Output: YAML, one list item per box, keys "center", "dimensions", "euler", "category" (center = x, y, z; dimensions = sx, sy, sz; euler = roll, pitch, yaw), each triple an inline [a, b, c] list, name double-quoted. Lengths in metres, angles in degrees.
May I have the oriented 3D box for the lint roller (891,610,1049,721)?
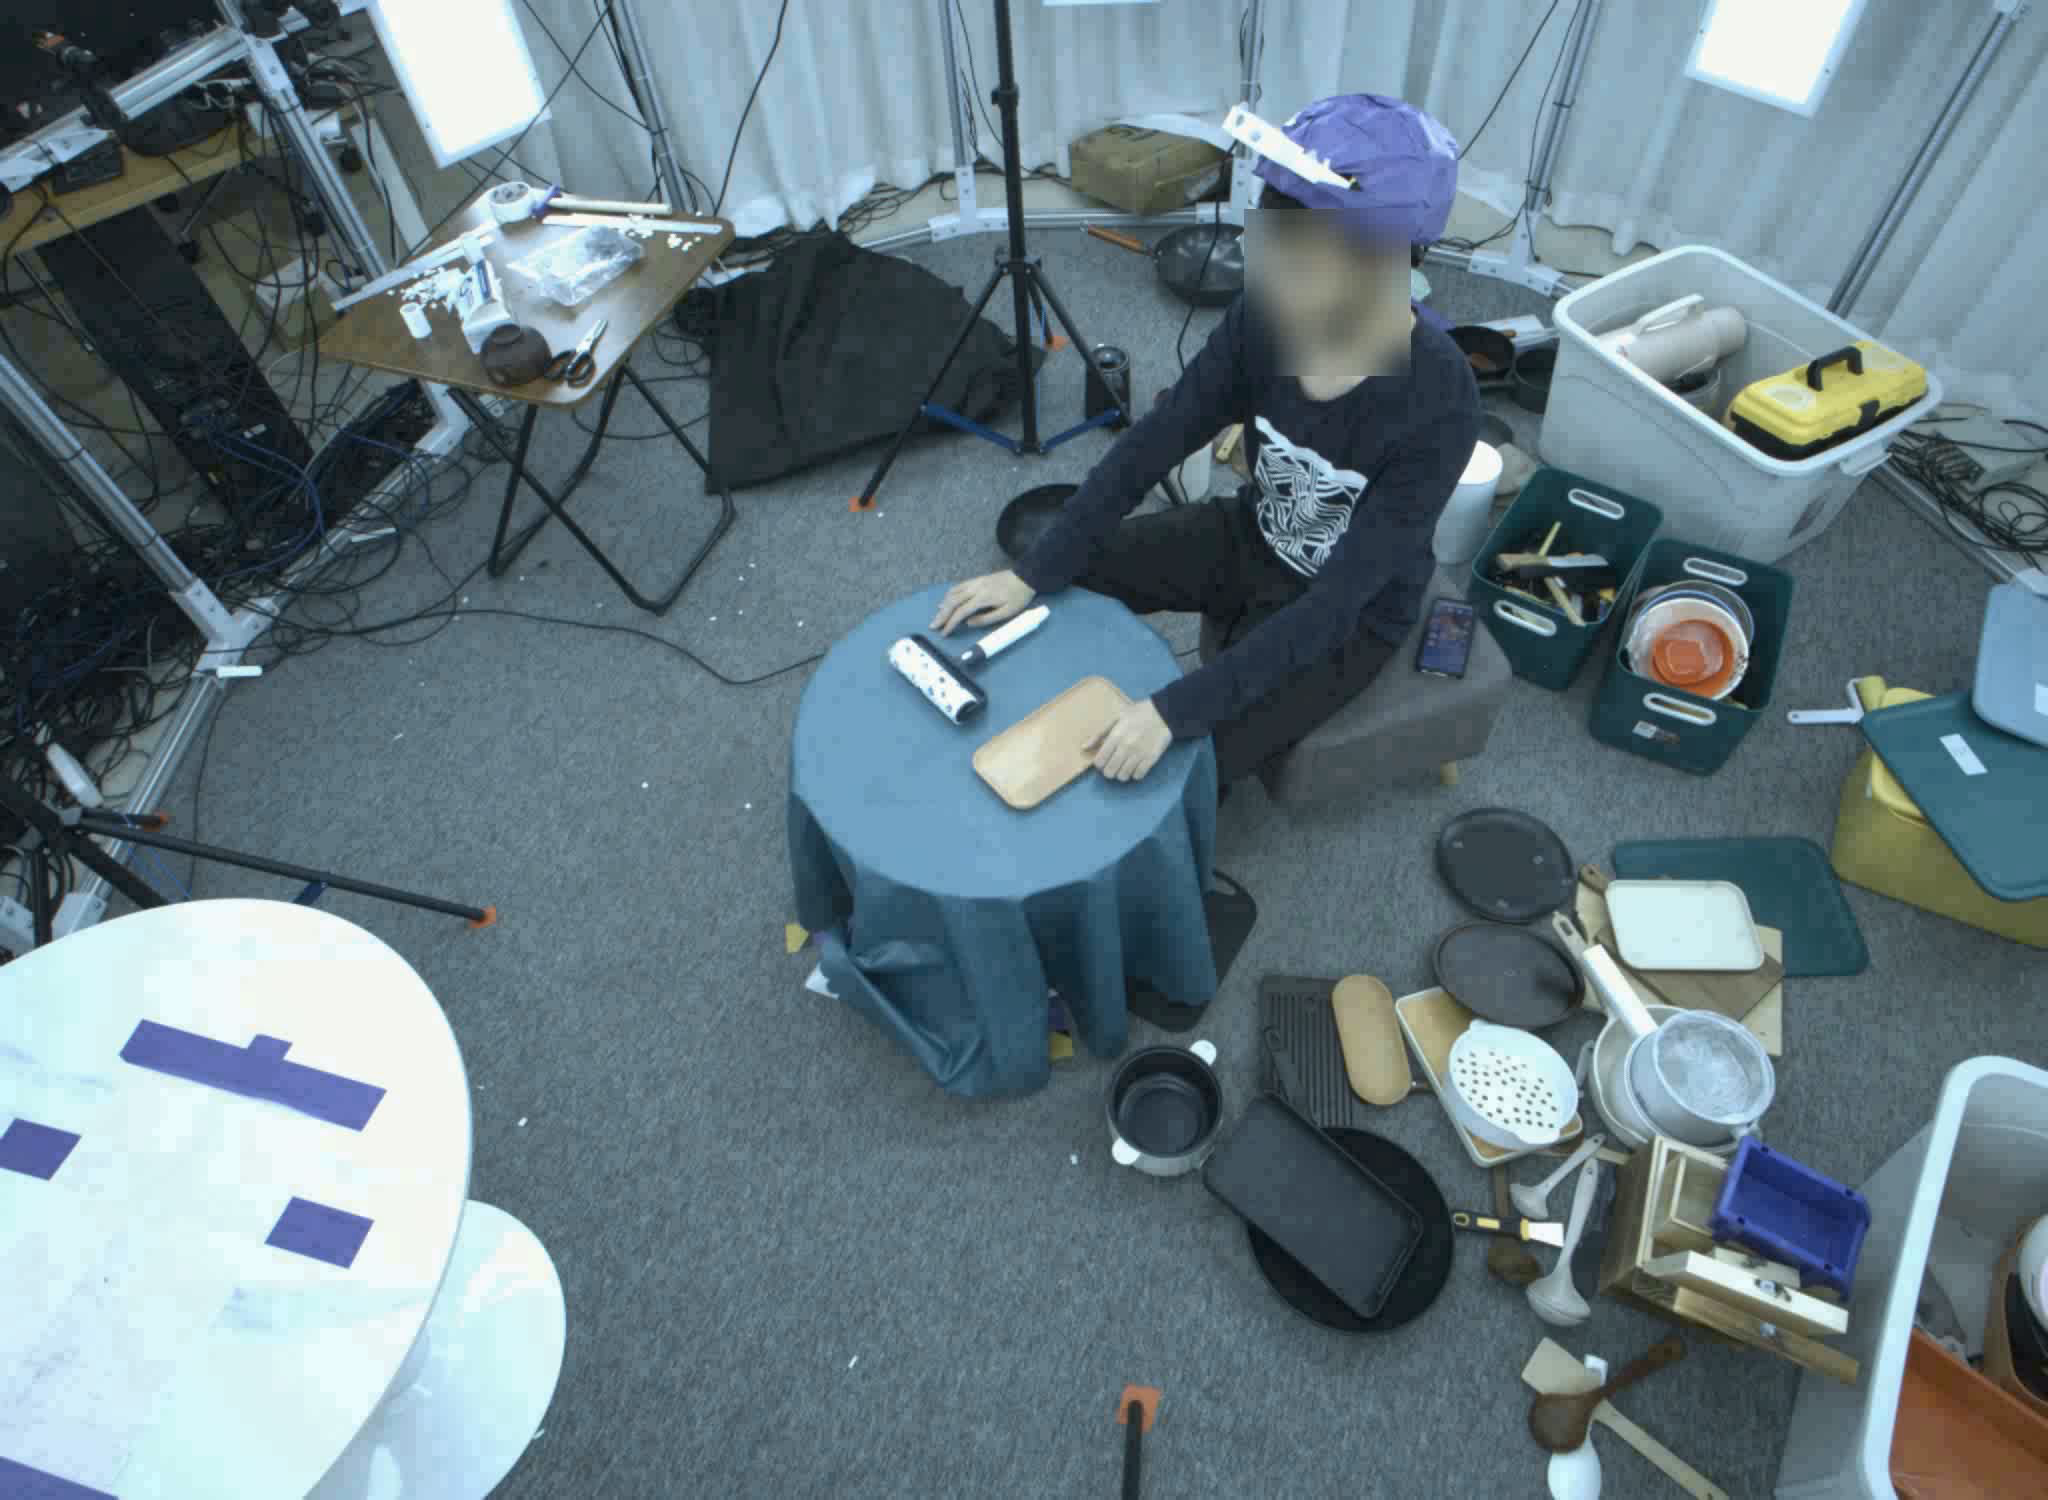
- center: [-0.061, -0.158, 1.886]
  dimensions: [0.249, 0.051, 0.173]
  euler: [-35, 60, -24]
  category: "lint roller"

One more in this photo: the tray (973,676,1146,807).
- center: [0.053, -0.014, 1.794]
  dimensions: [0.253, 0.023, 0.128]
  euler: [-32, 63, -21]
  category: "tray"
